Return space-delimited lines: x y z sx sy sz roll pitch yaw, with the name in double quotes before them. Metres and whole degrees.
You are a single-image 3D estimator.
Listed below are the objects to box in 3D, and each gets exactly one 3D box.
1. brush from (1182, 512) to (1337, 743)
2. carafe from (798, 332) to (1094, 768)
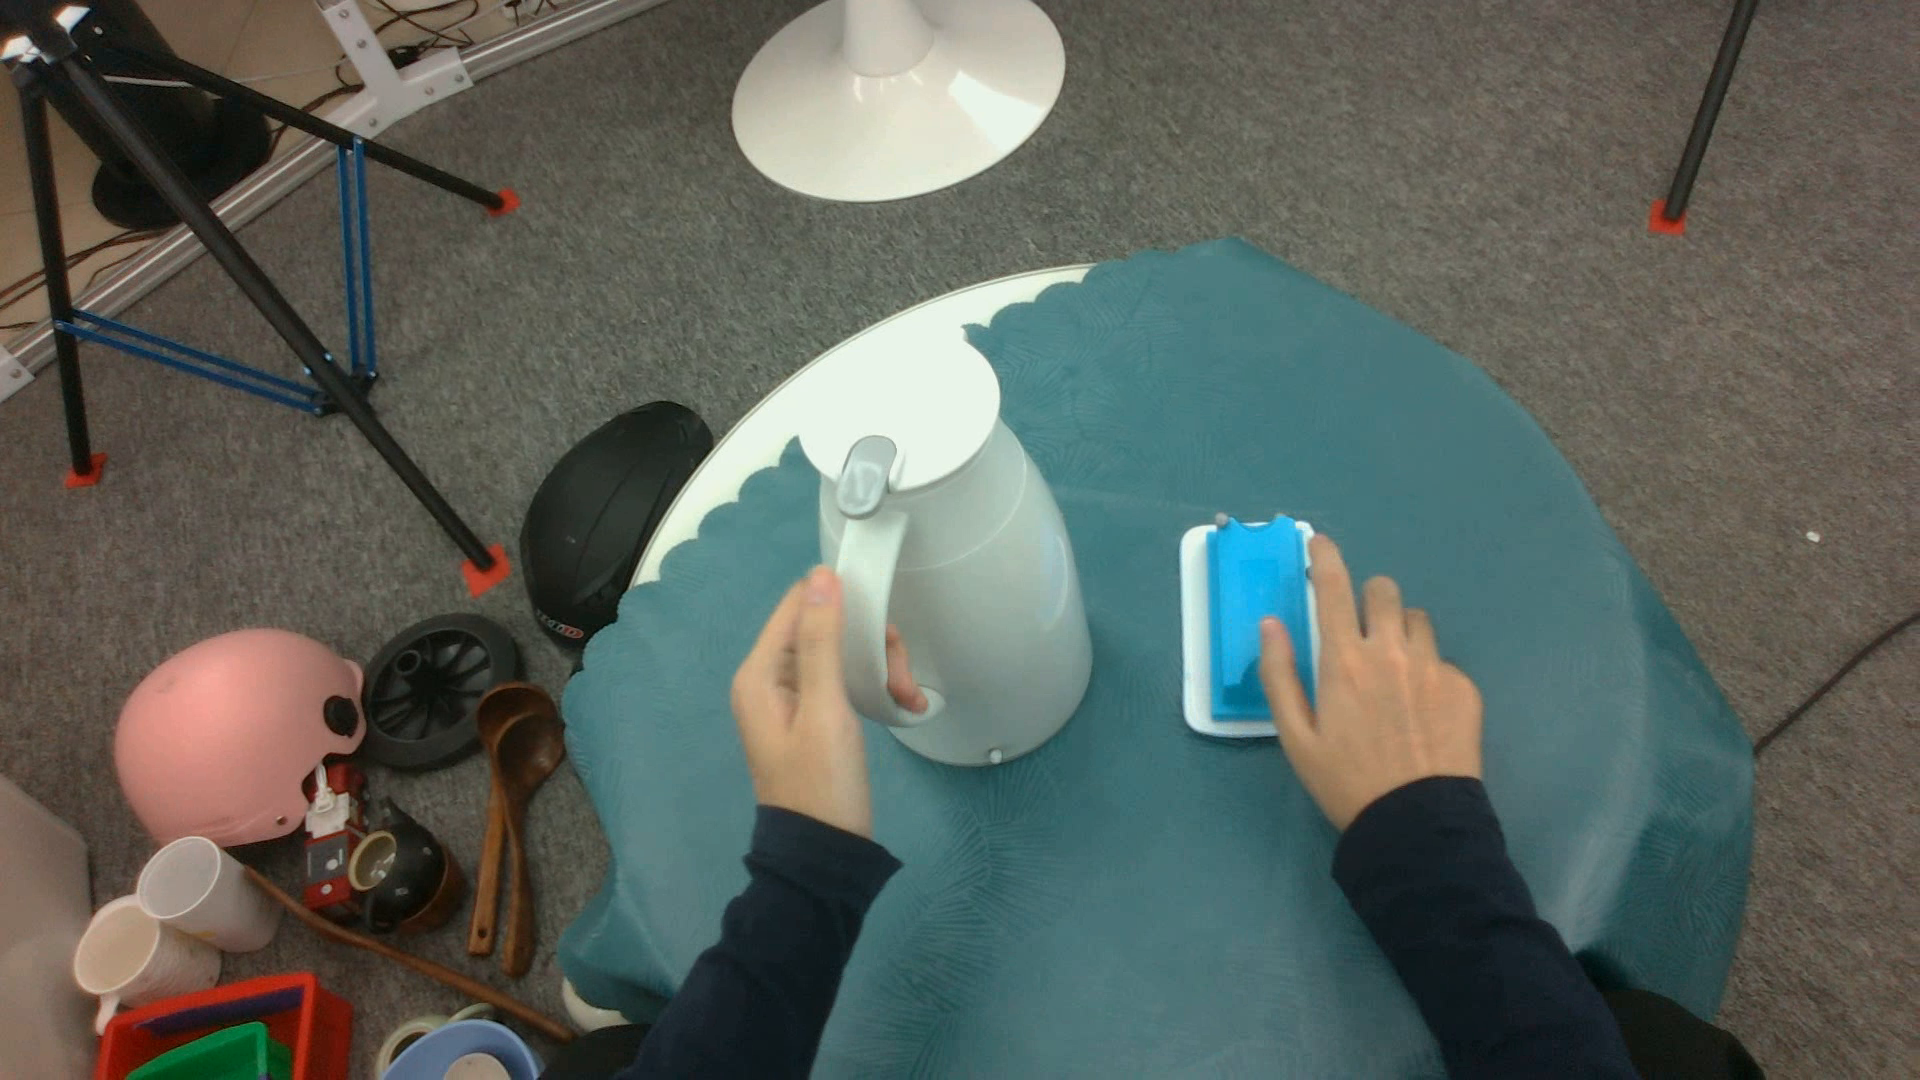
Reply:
"brush" 0.165 0.042 0.770 0.084 0.056 0.144 -3 53 14
"carafe" -0.012 0.023 0.705 0.132 0.247 0.168 6 59 16
